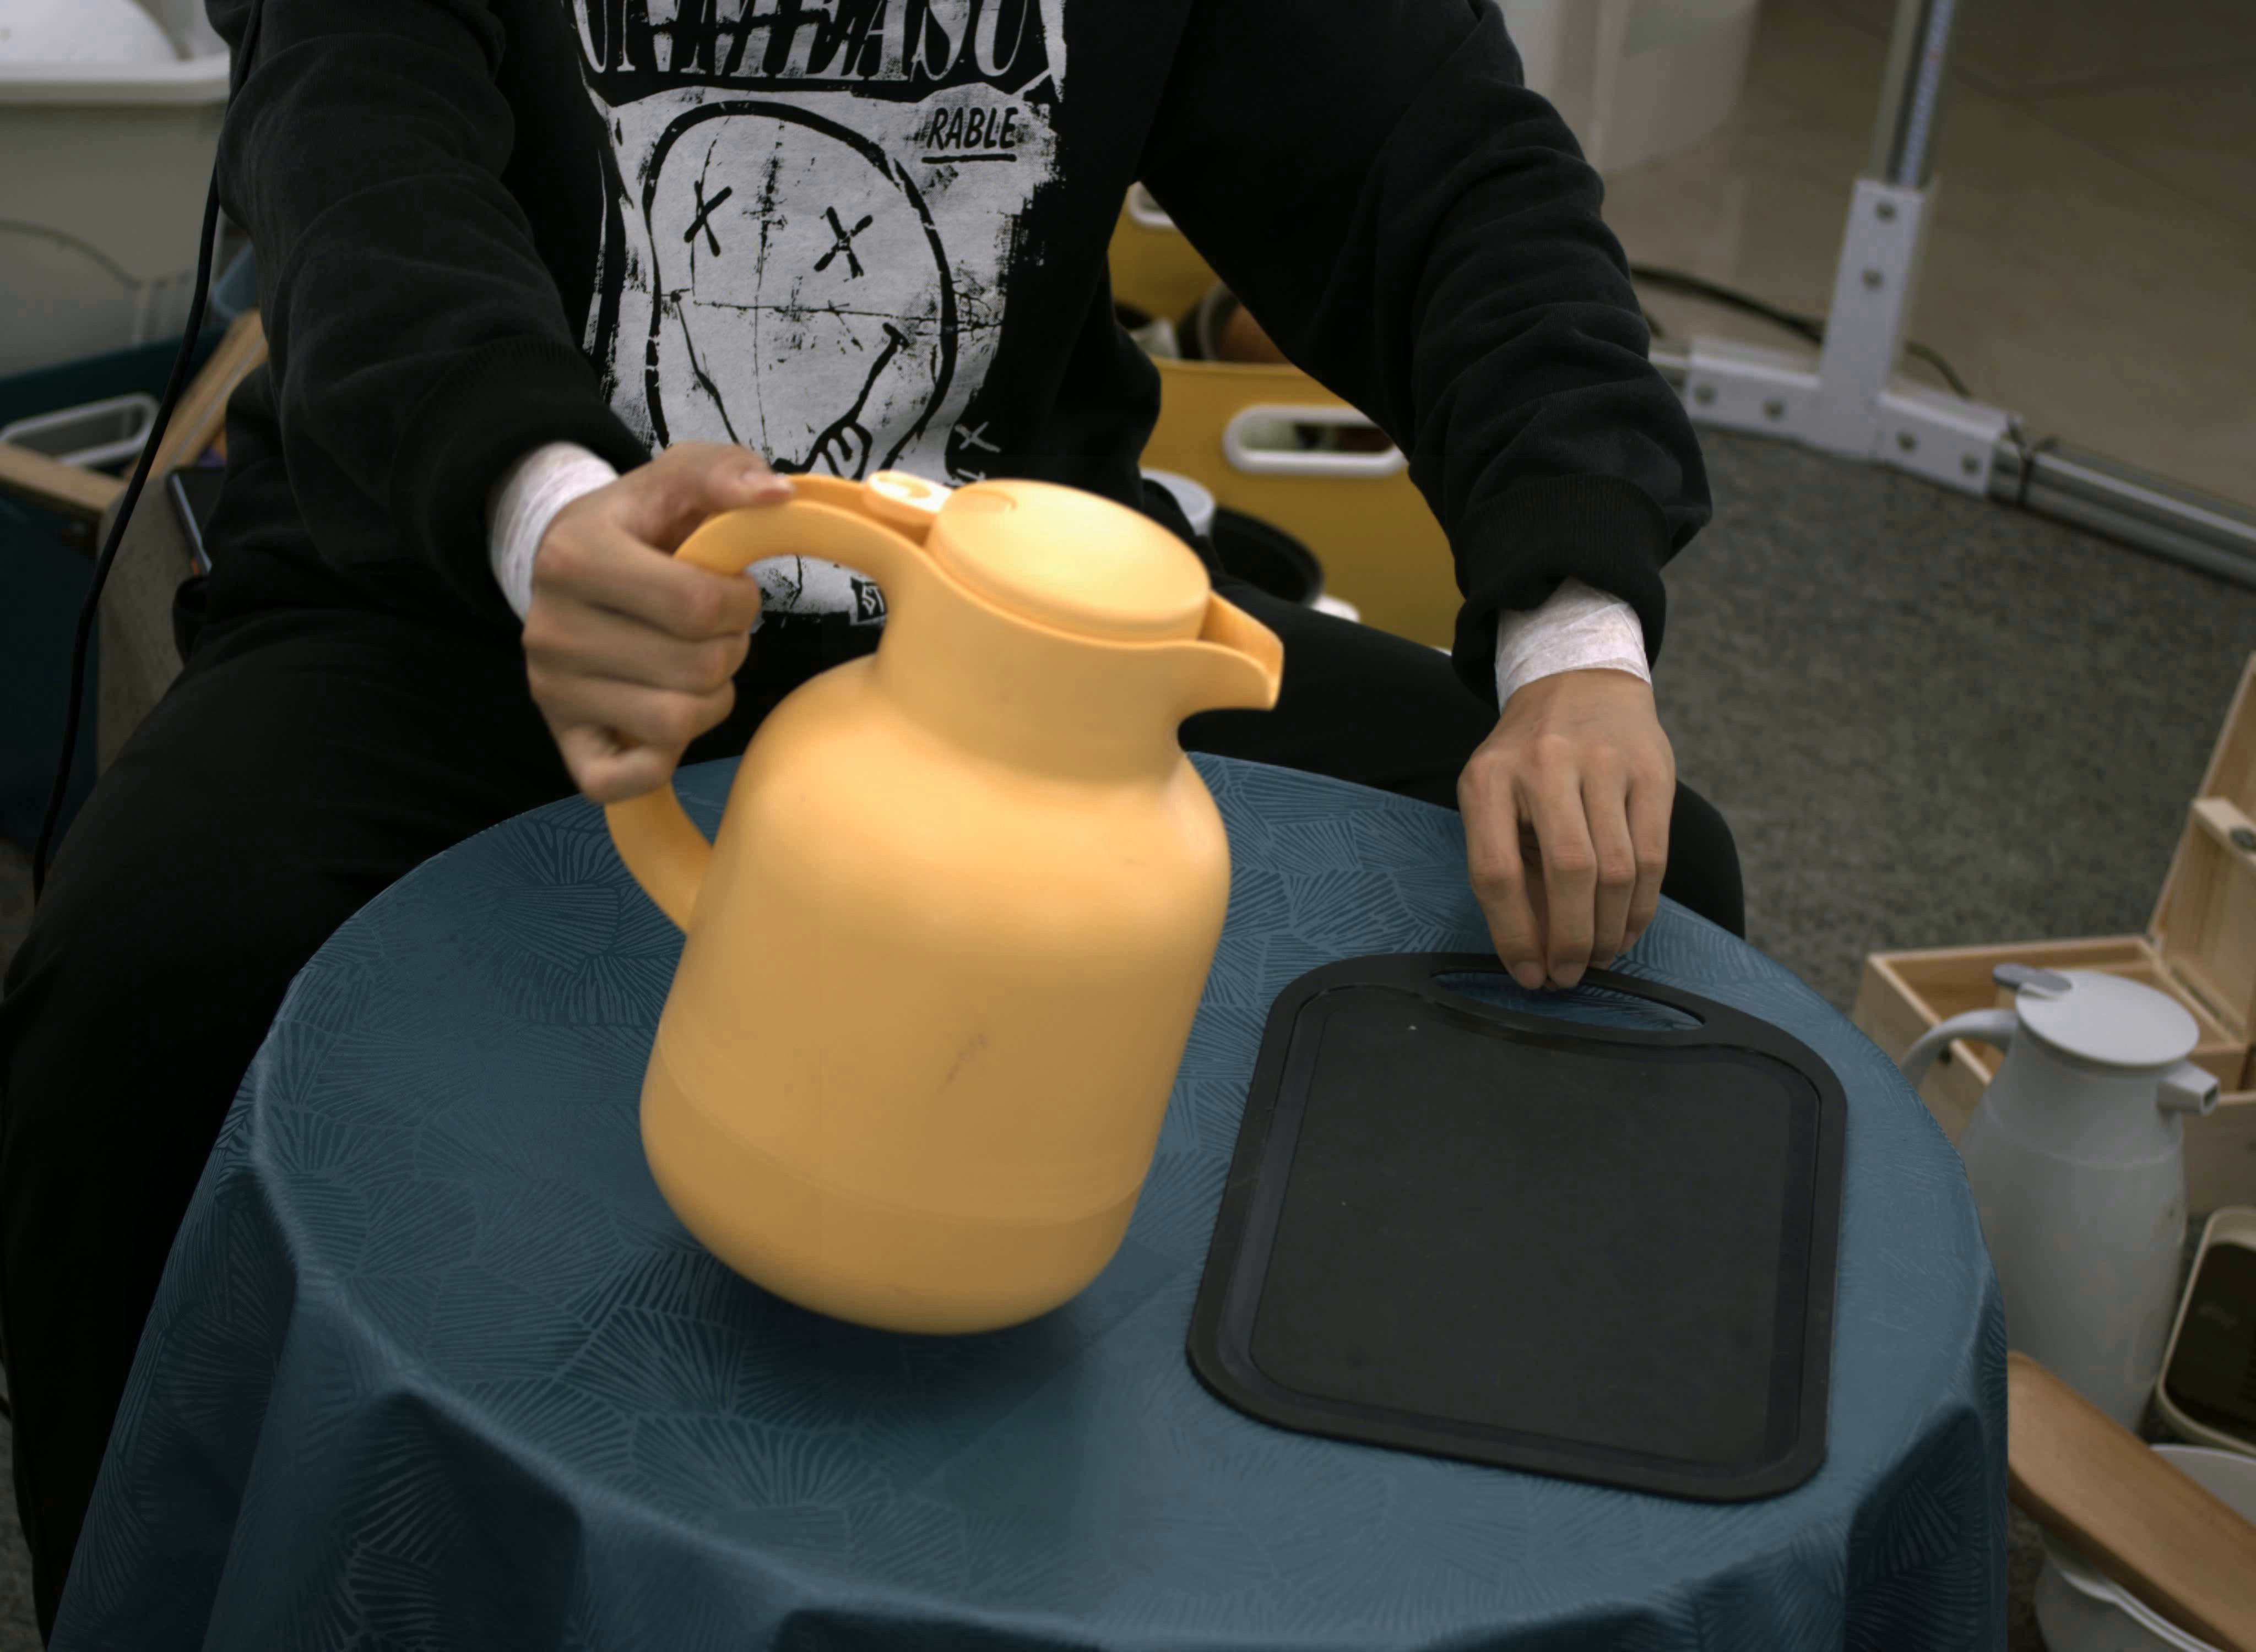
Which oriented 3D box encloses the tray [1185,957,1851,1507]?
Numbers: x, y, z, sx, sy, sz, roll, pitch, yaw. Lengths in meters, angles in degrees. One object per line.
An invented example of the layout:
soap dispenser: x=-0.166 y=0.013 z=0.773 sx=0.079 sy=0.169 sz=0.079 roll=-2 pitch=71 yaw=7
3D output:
tray: x=0.139 y=0.126 z=1.817 sx=0.211 sy=0.010 sz=0.327 roll=10 pitch=28 yaw=5

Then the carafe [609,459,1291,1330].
carafe: x=-0.068 y=0.011 z=1.670 sx=0.202 sy=0.260 sz=0.163 roll=22 pitch=23 yaw=6
